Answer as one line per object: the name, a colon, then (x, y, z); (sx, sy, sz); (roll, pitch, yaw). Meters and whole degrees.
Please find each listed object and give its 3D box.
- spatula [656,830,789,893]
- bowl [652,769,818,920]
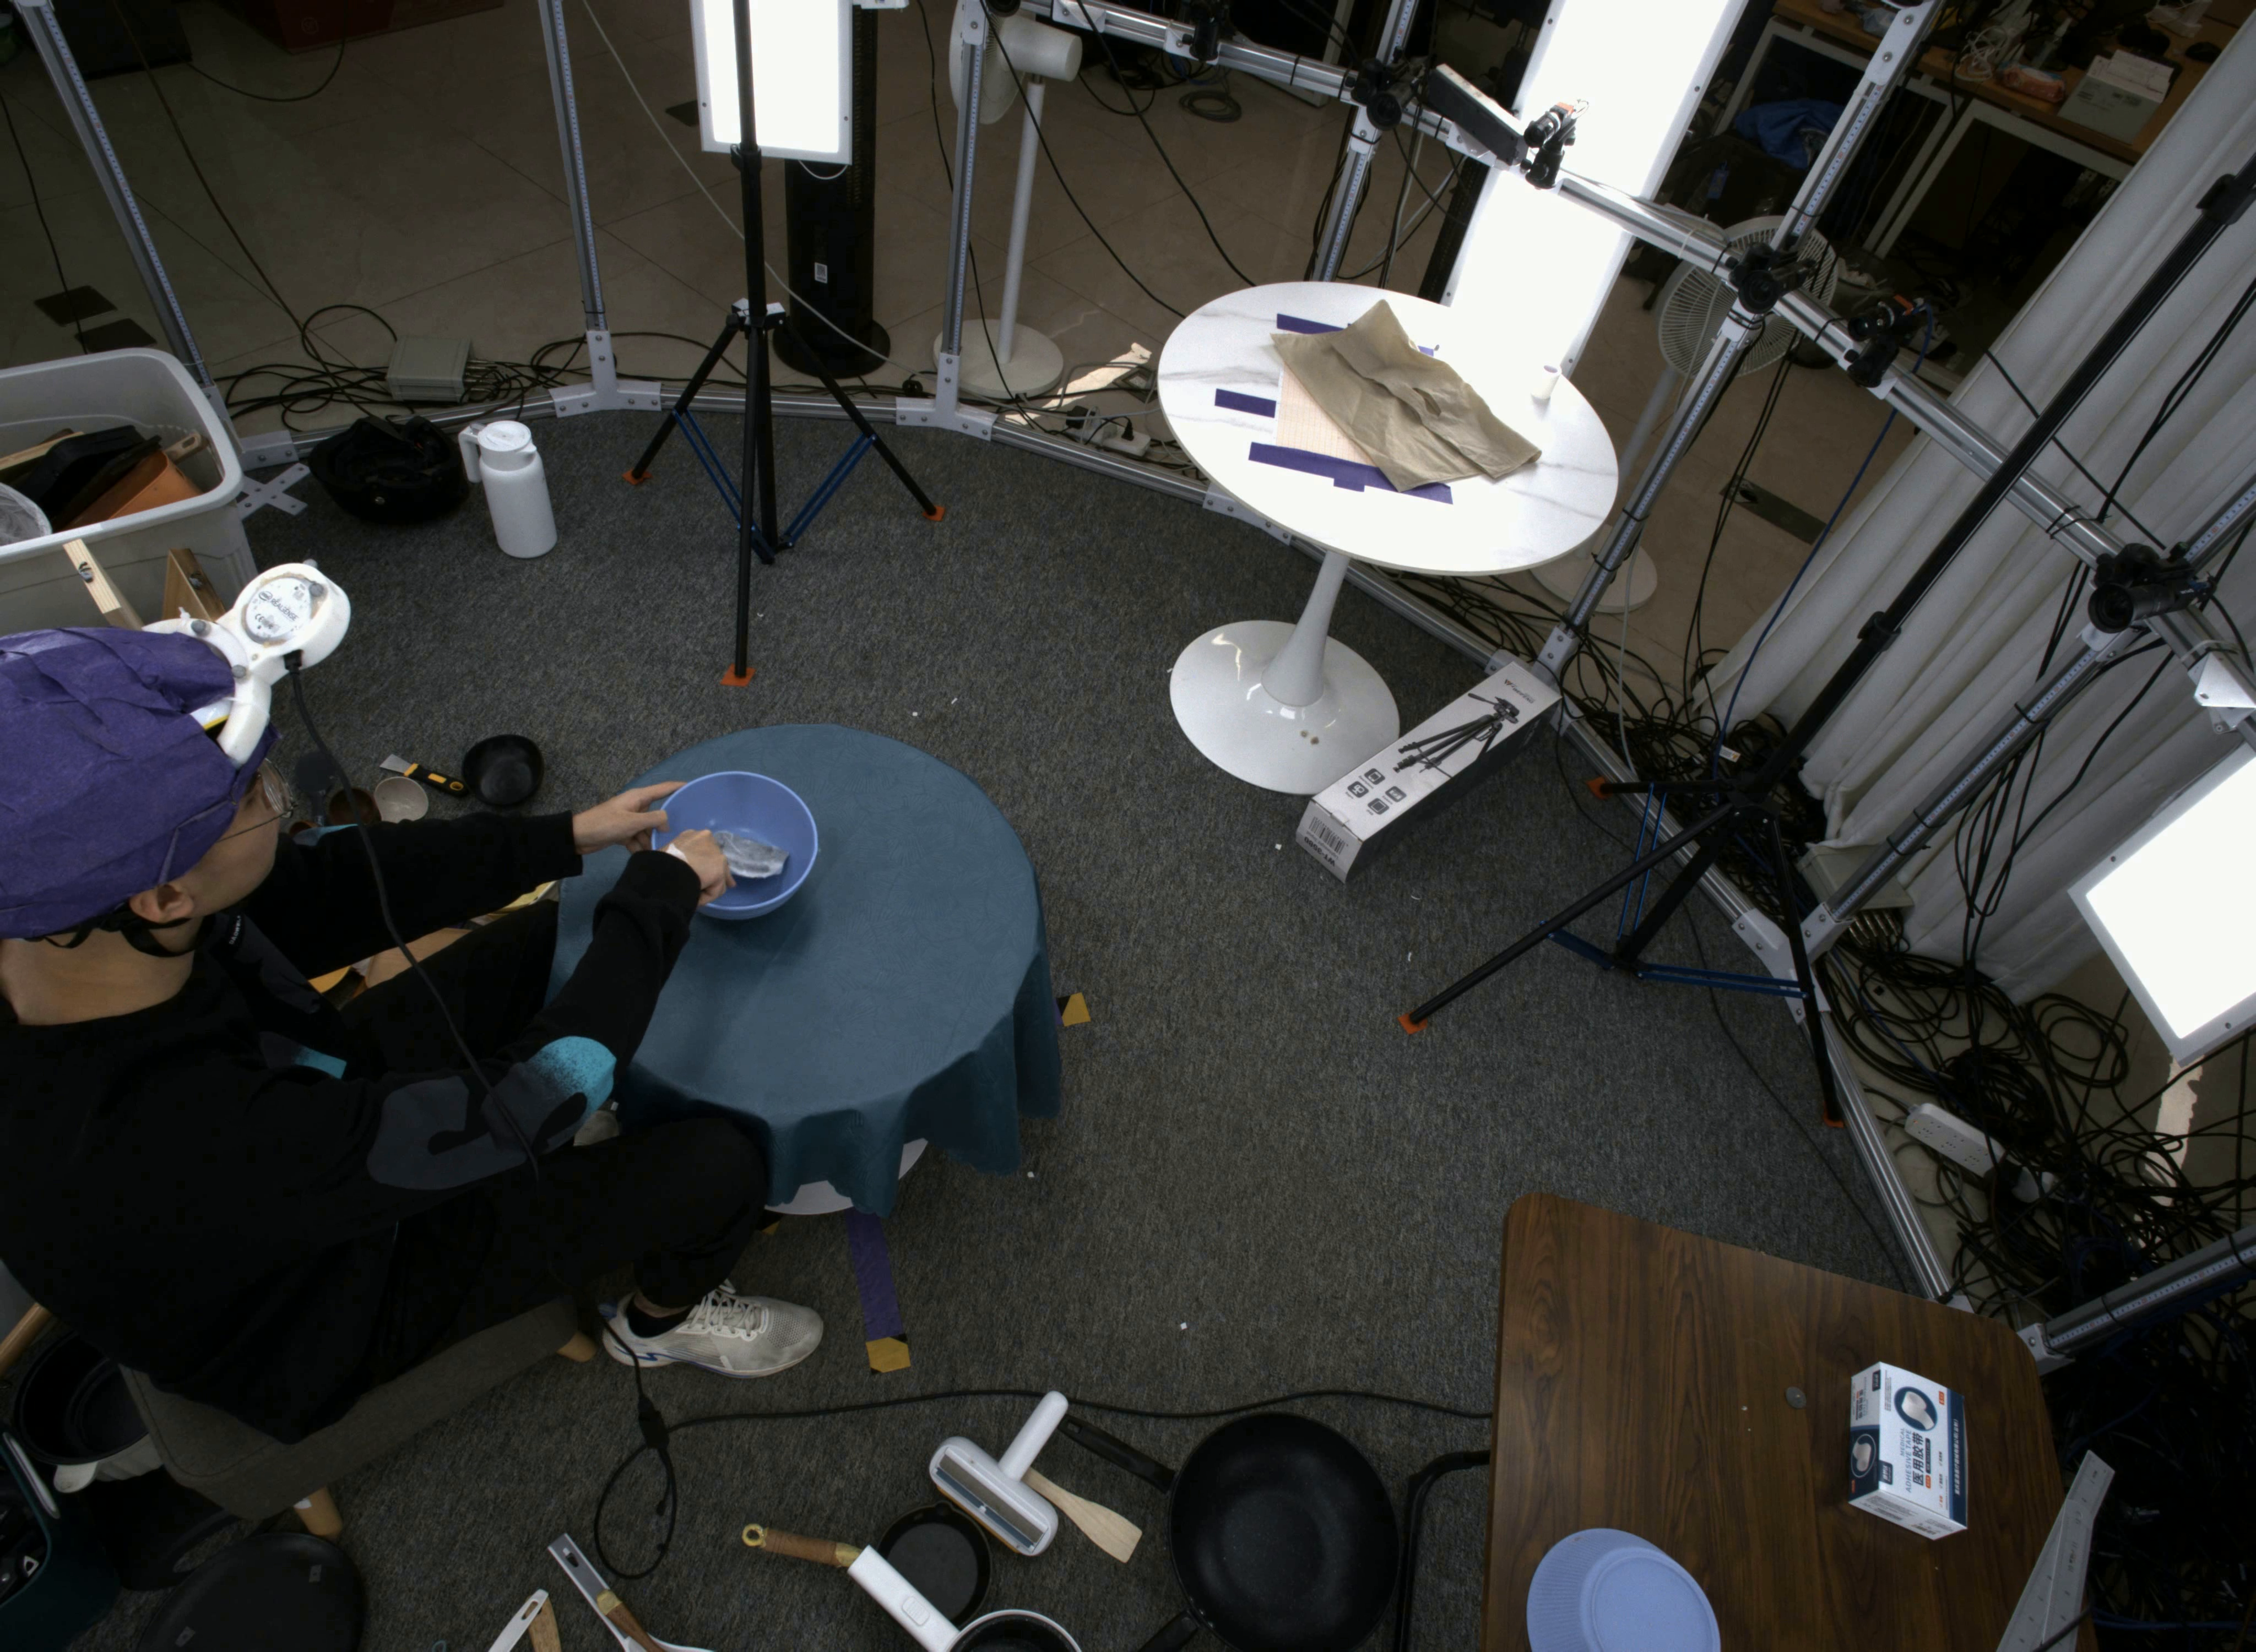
spatula: (-0.473, 0.042, 1.483); (0.098, 0.362, 0.045); (19, 91, -4)
bowl: (-0.488, 0.037, 1.605); (0.197, 0.096, 0.193); (10, 57, -14)
